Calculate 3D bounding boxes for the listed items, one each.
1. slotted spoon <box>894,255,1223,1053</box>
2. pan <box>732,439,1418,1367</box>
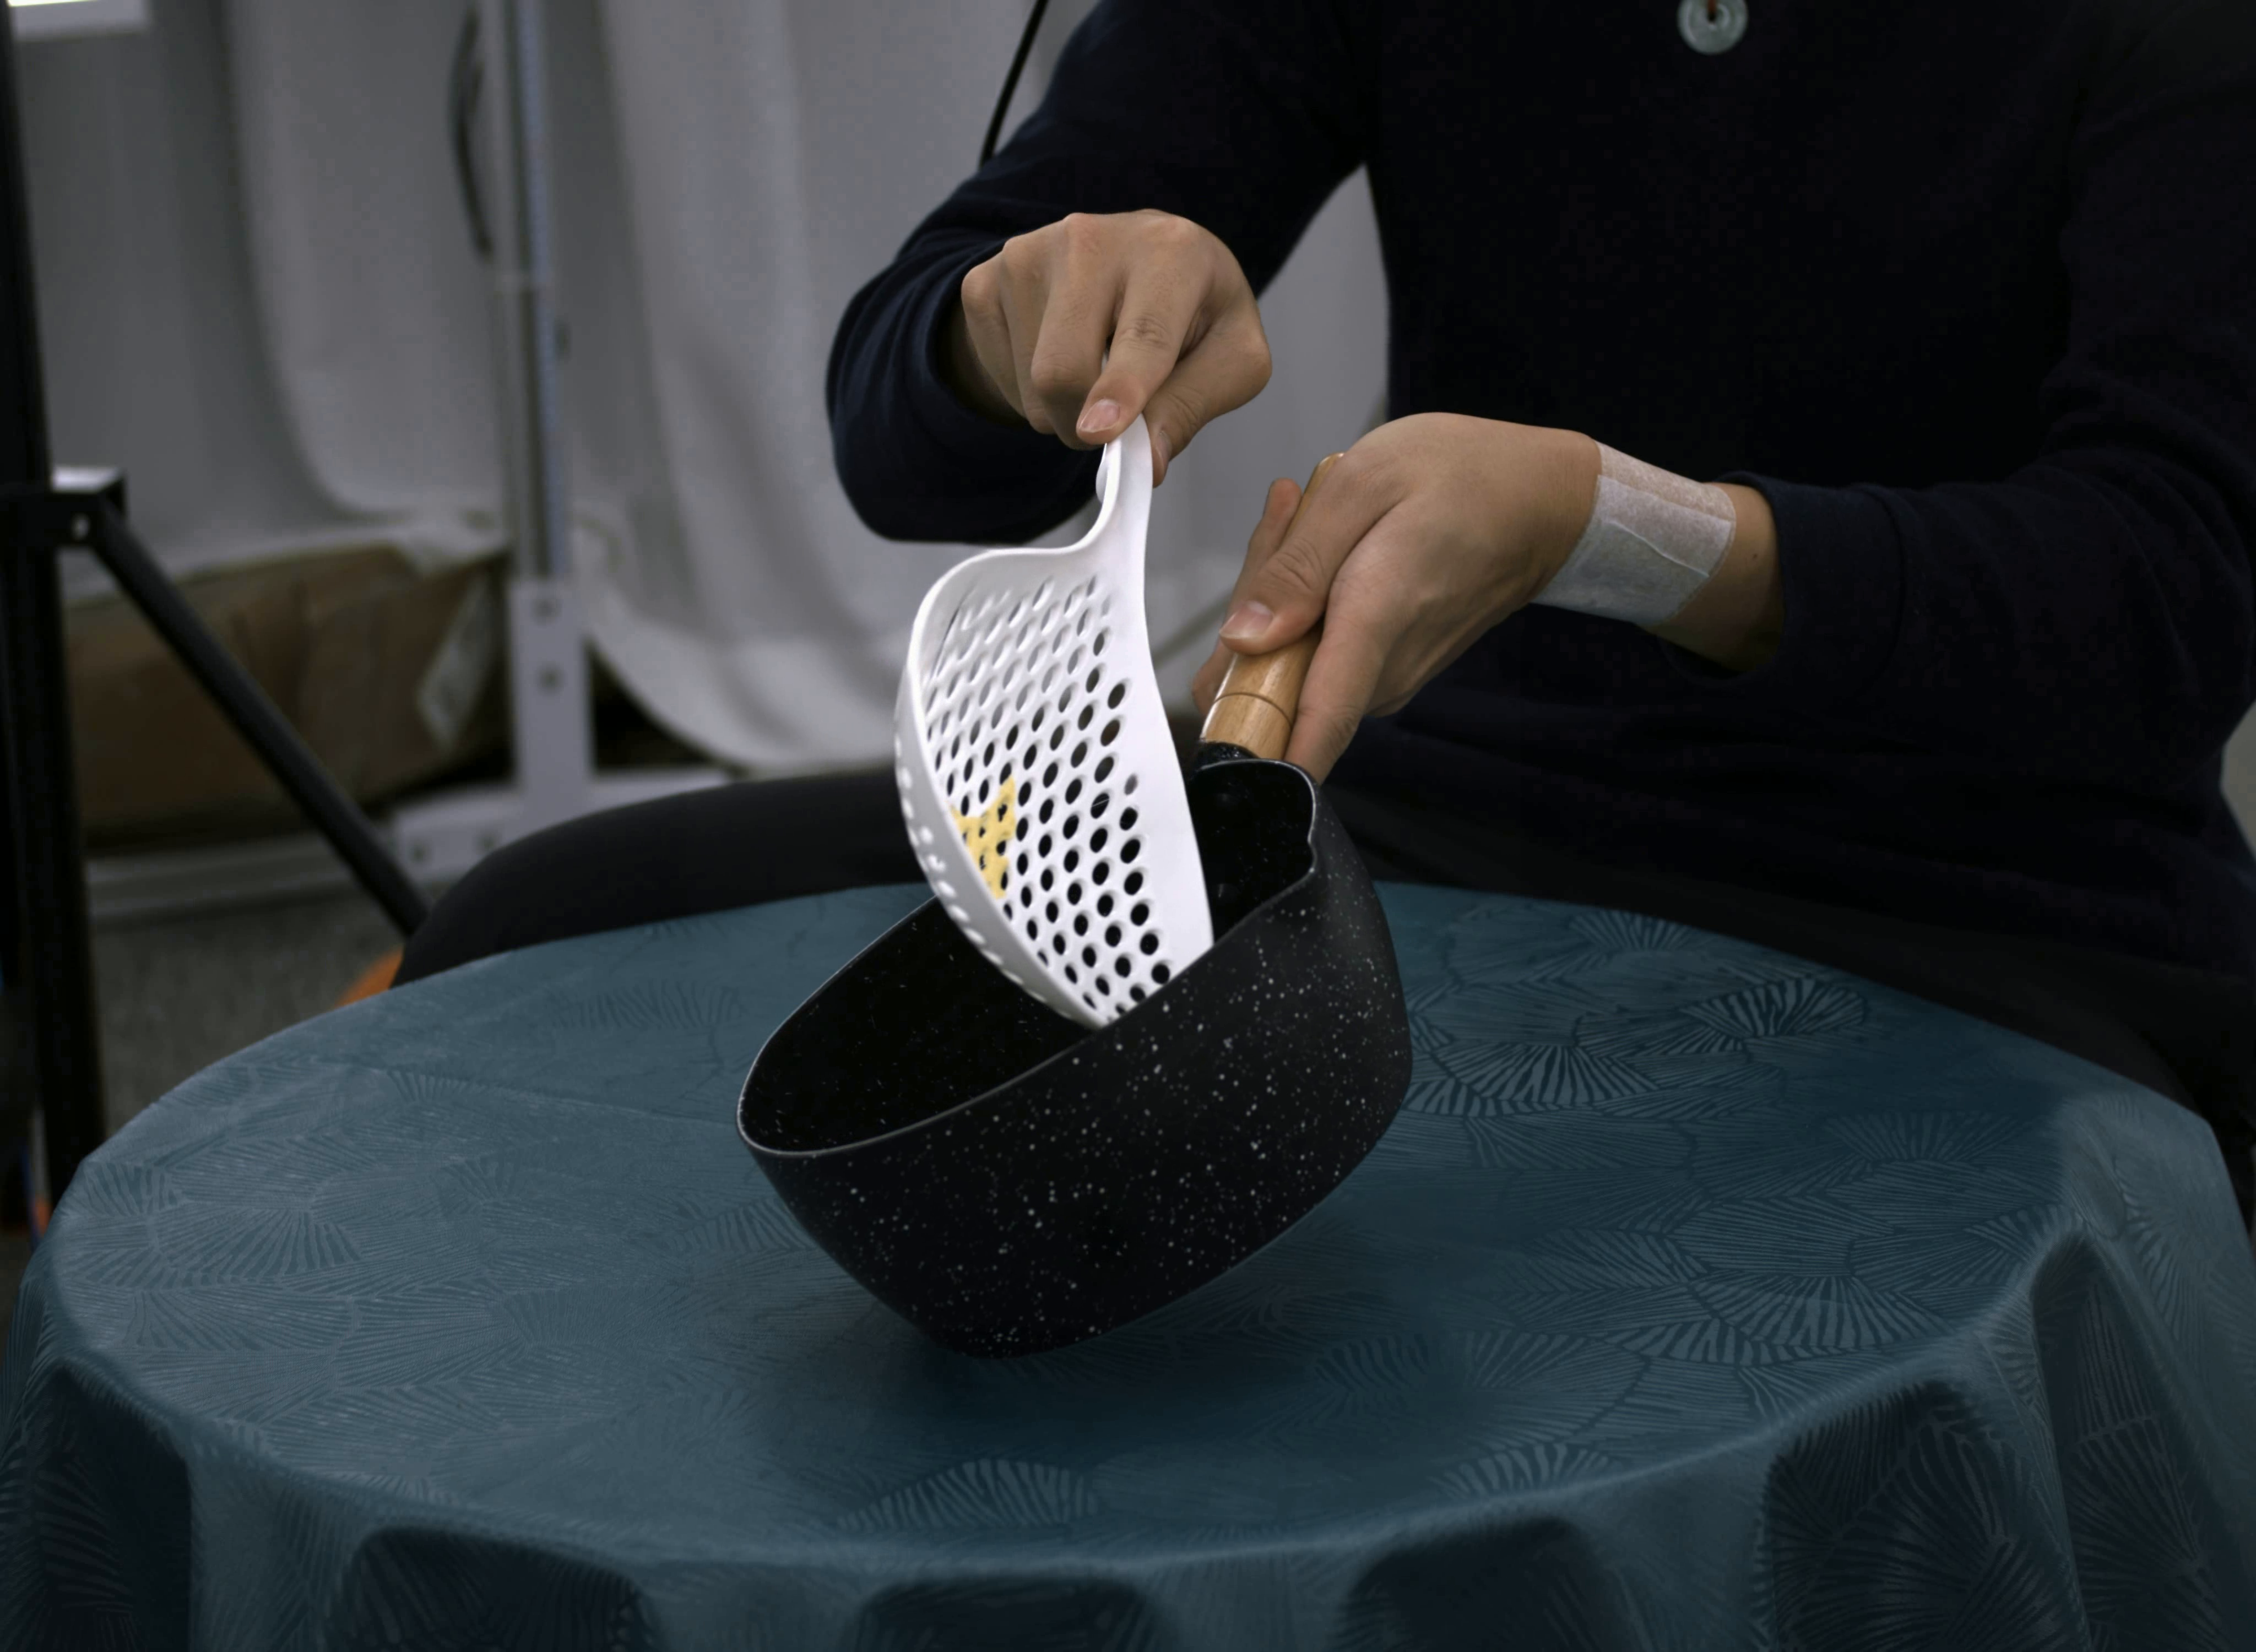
[{"bbox_3d":[-0.014,-0.065,1.478,0.051,0.134,0.349,-27,29,27],"label":"slotted spoon"},{"bbox_3d":[0.019,0.017,1.500,0.211,0.107,0.340,-20,22,37],"label":"pan"}]
